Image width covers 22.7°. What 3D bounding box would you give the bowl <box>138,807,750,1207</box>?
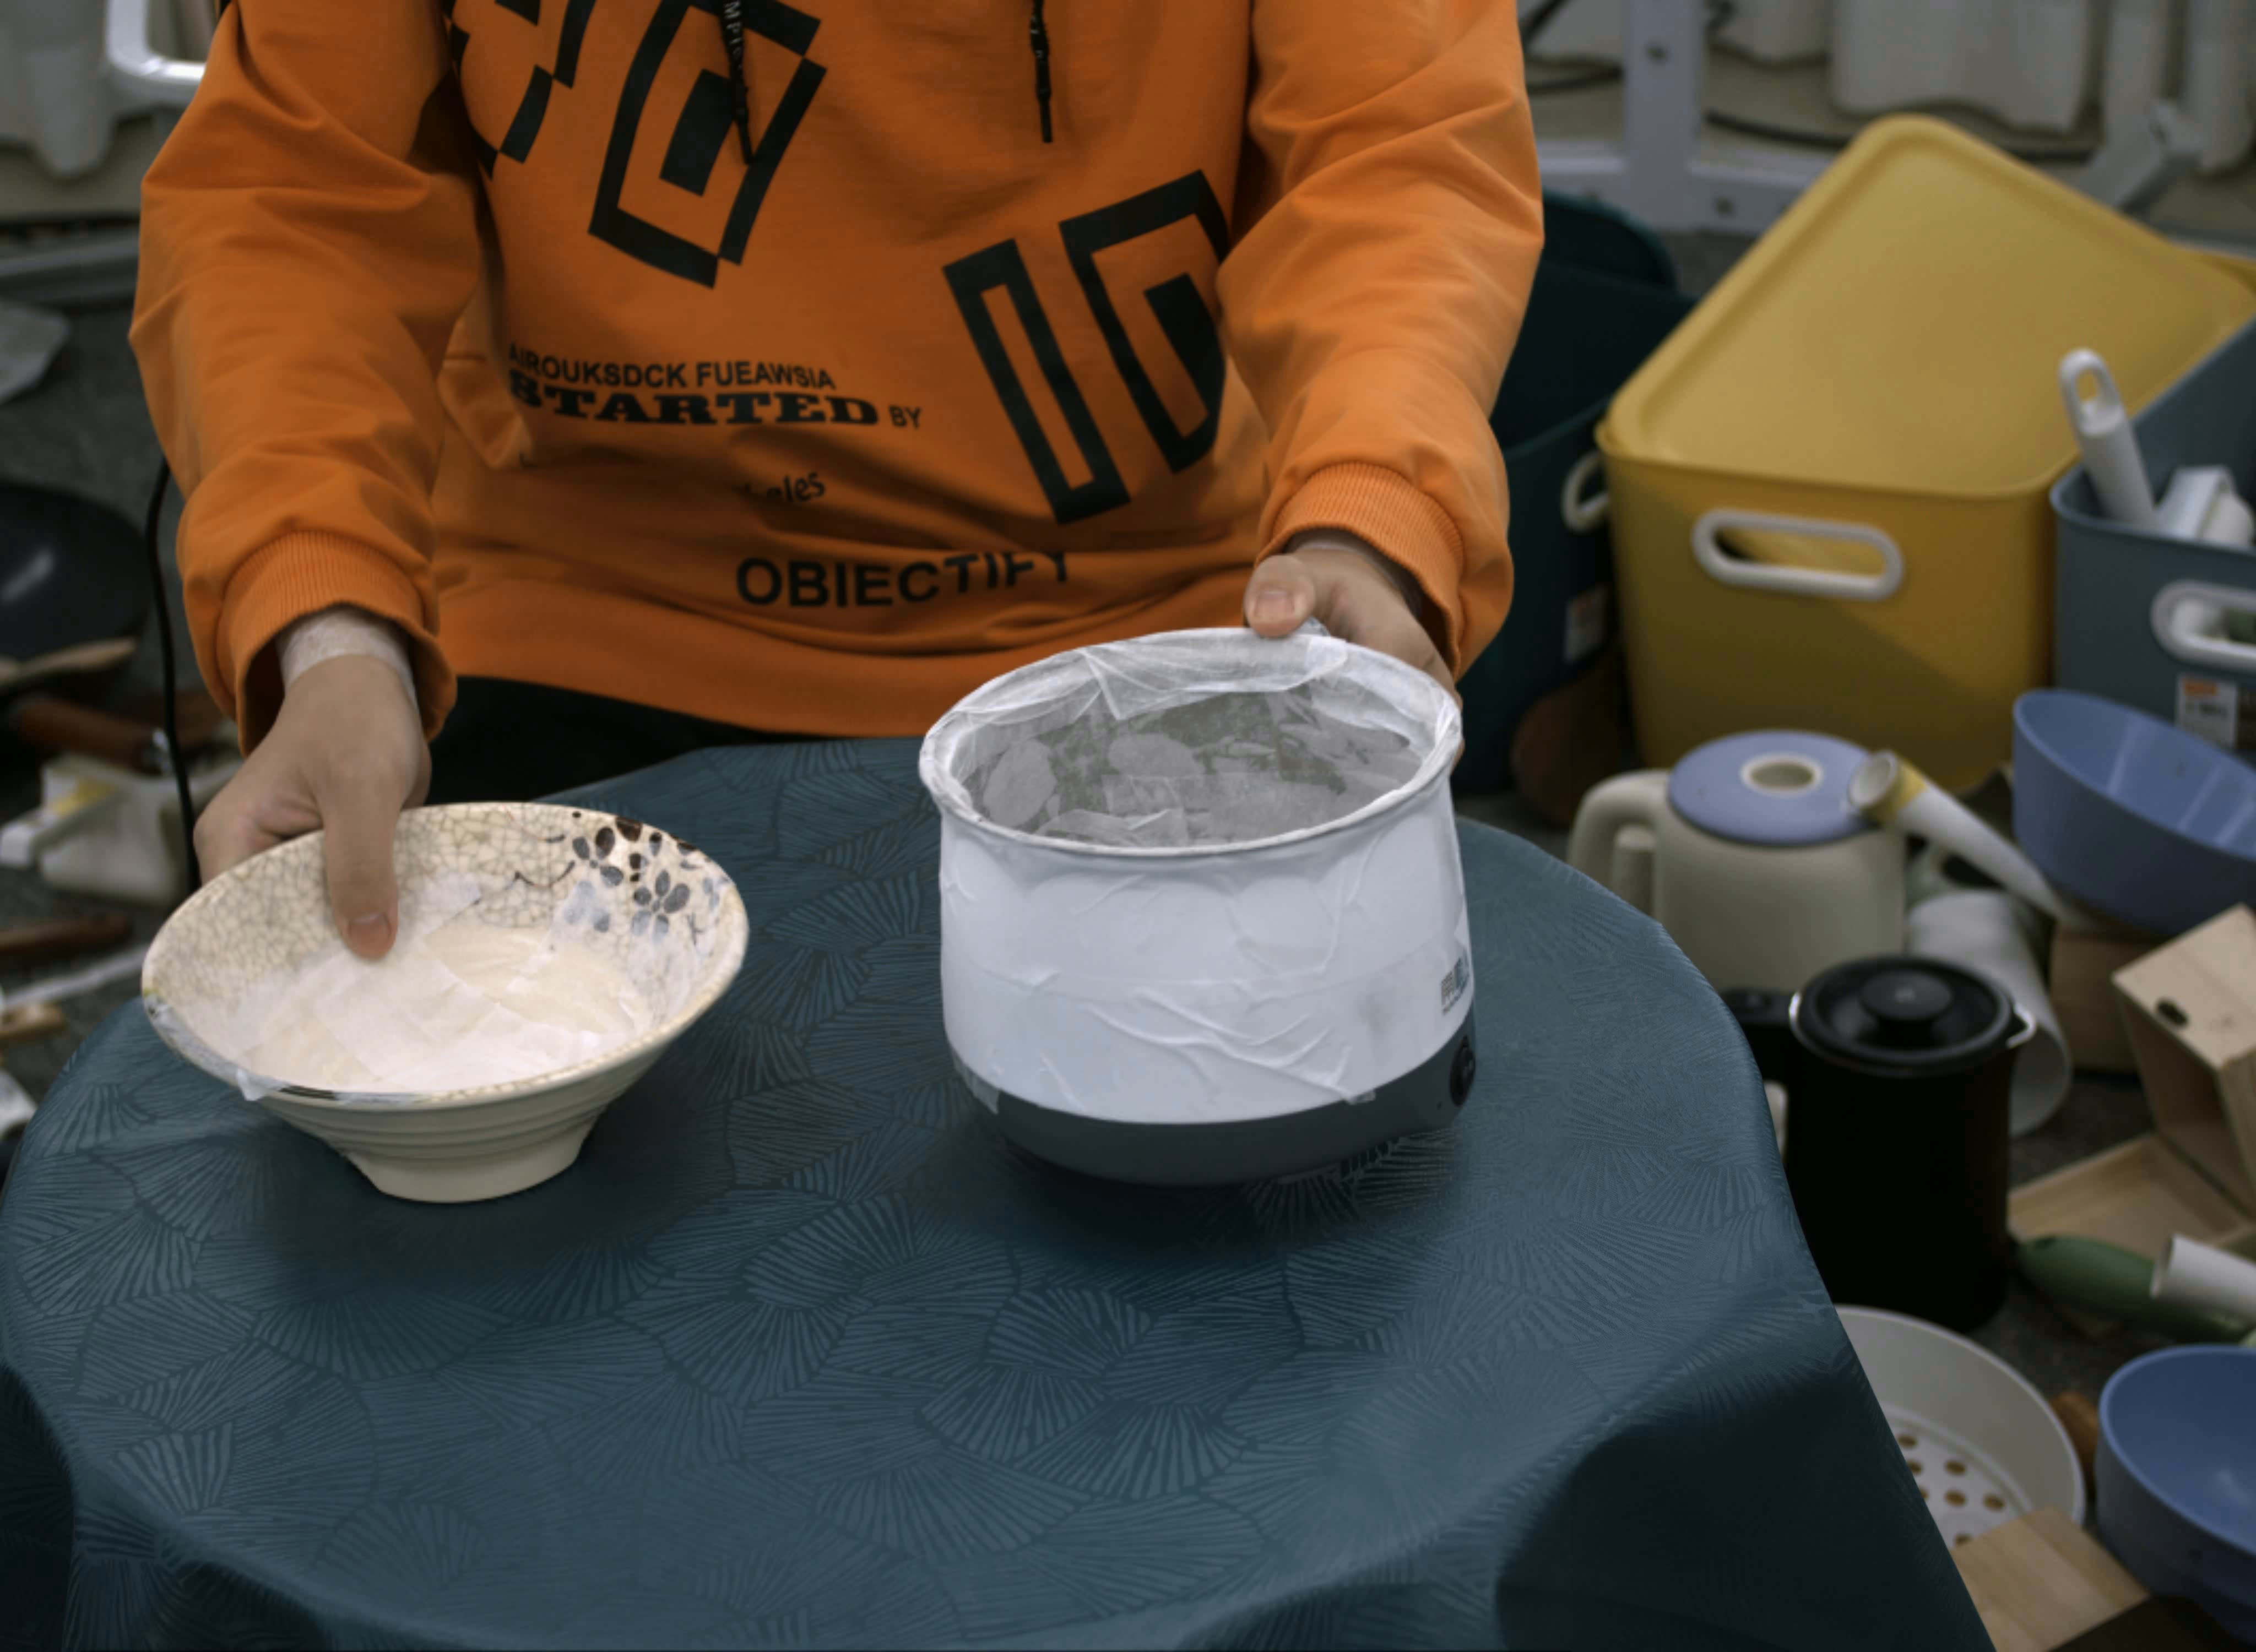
[{"bbox_3d":[-0.228,0.074,1.890,0.203,0.077,0.207,1,27,0],"label":"bowl"}]

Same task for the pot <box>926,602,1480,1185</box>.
[{"bbox_3d":[0.035,0.016,1.878,0.177,0.135,0.237,4,25,18],"label":"pot"}]
